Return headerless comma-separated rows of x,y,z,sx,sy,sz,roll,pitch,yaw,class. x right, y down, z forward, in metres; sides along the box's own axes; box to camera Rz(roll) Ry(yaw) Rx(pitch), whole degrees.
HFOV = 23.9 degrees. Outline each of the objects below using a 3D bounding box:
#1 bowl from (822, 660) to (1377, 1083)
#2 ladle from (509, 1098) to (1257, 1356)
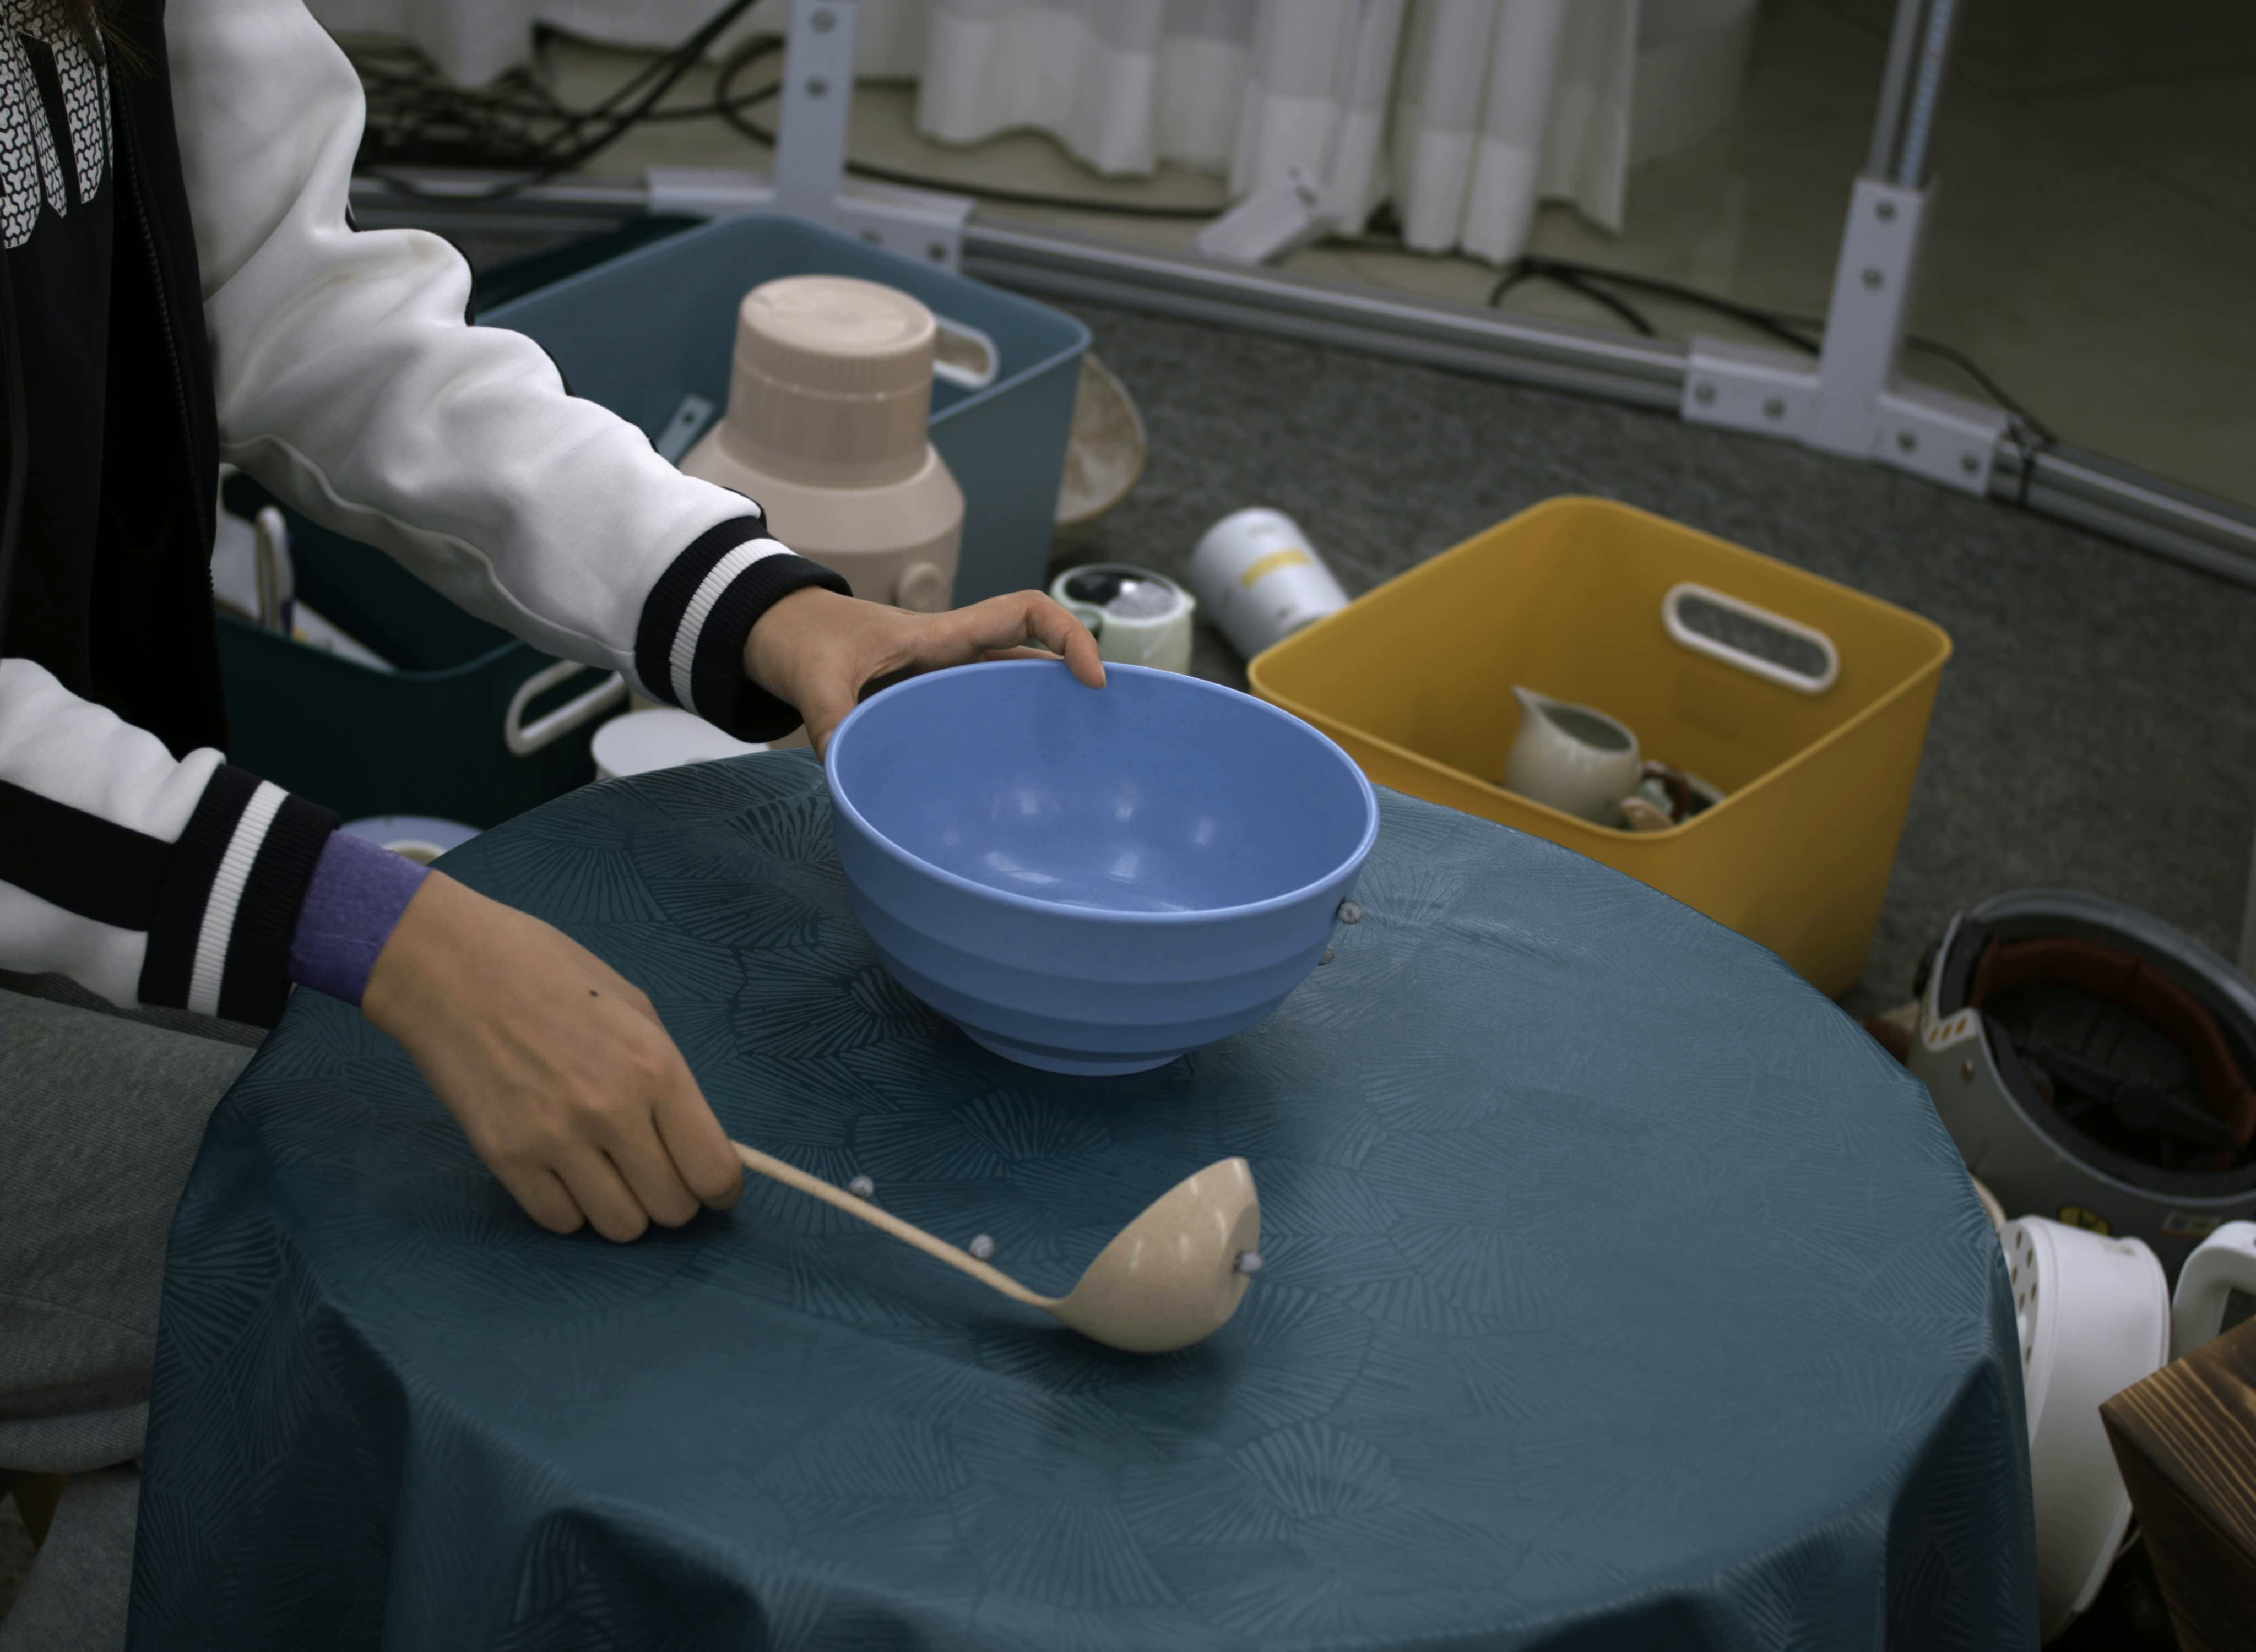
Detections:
-0.014,0.028,1.889,0.196,0.095,0.198,4,28,-3,bowl
-0.079,0.102,1.732,0.255,0.073,0.072,20,-2,18,ladle
